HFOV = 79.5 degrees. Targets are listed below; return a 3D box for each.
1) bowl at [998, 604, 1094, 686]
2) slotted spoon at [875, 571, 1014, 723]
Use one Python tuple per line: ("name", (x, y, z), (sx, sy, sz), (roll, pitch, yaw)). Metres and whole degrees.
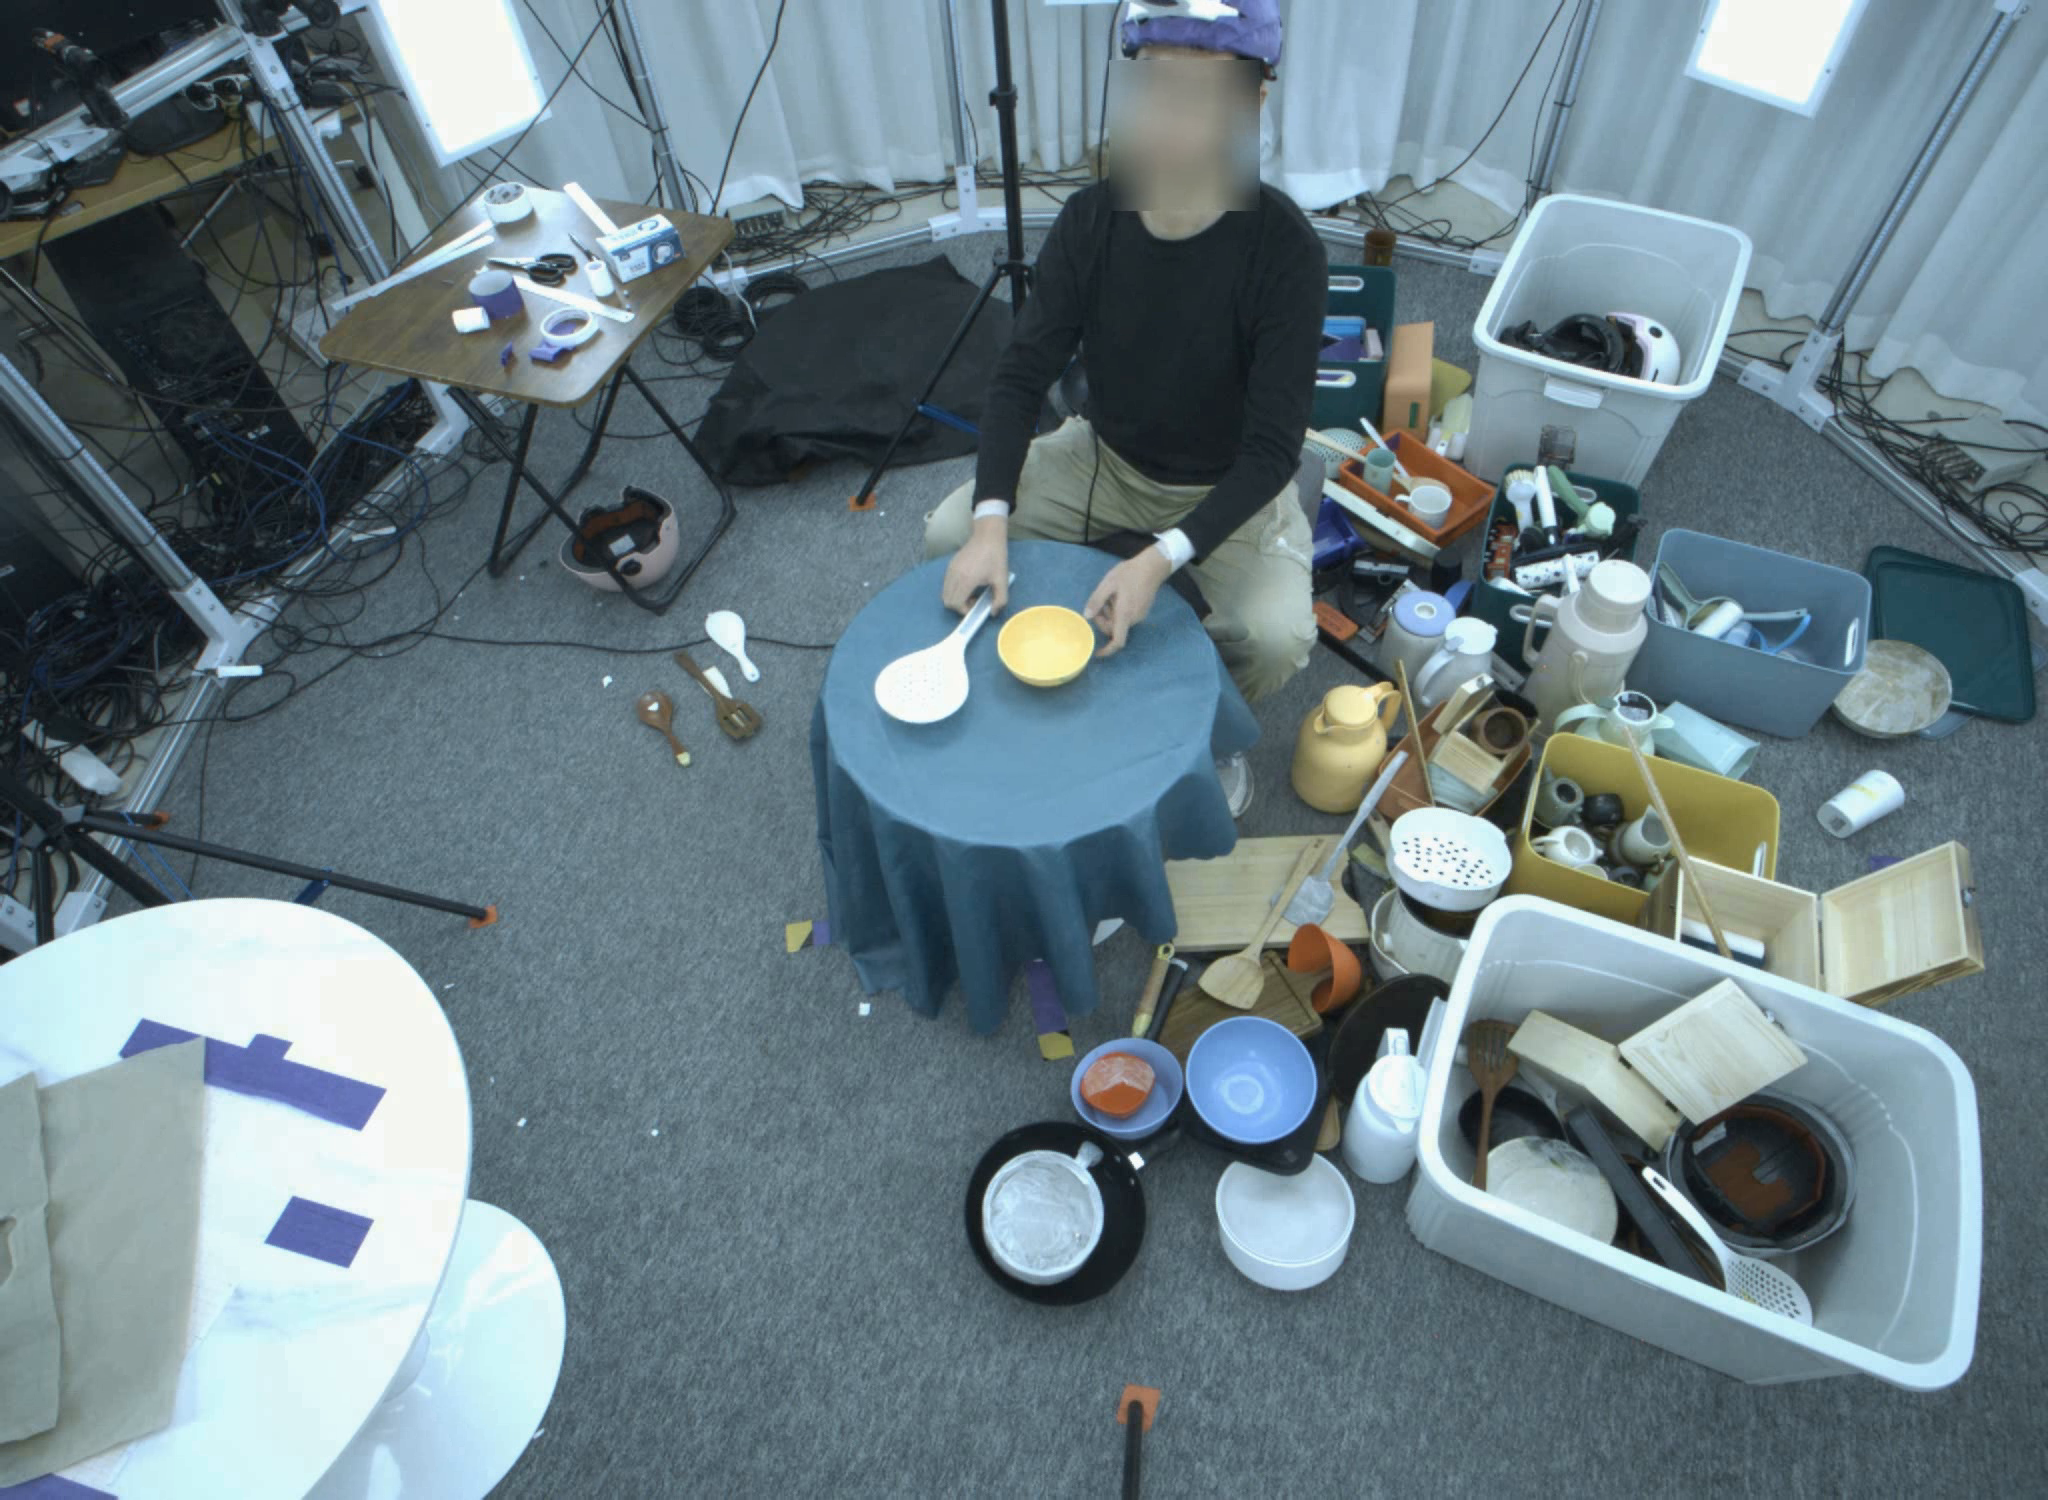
("bowl", (0.033, -0.147, 1.856), (0.145, 0.061, 0.144), (0, 57, 1))
("slotted spoon", (-0.105, -0.163, 1.877), (0.134, 0.046, 0.350), (21, 58, 15))
